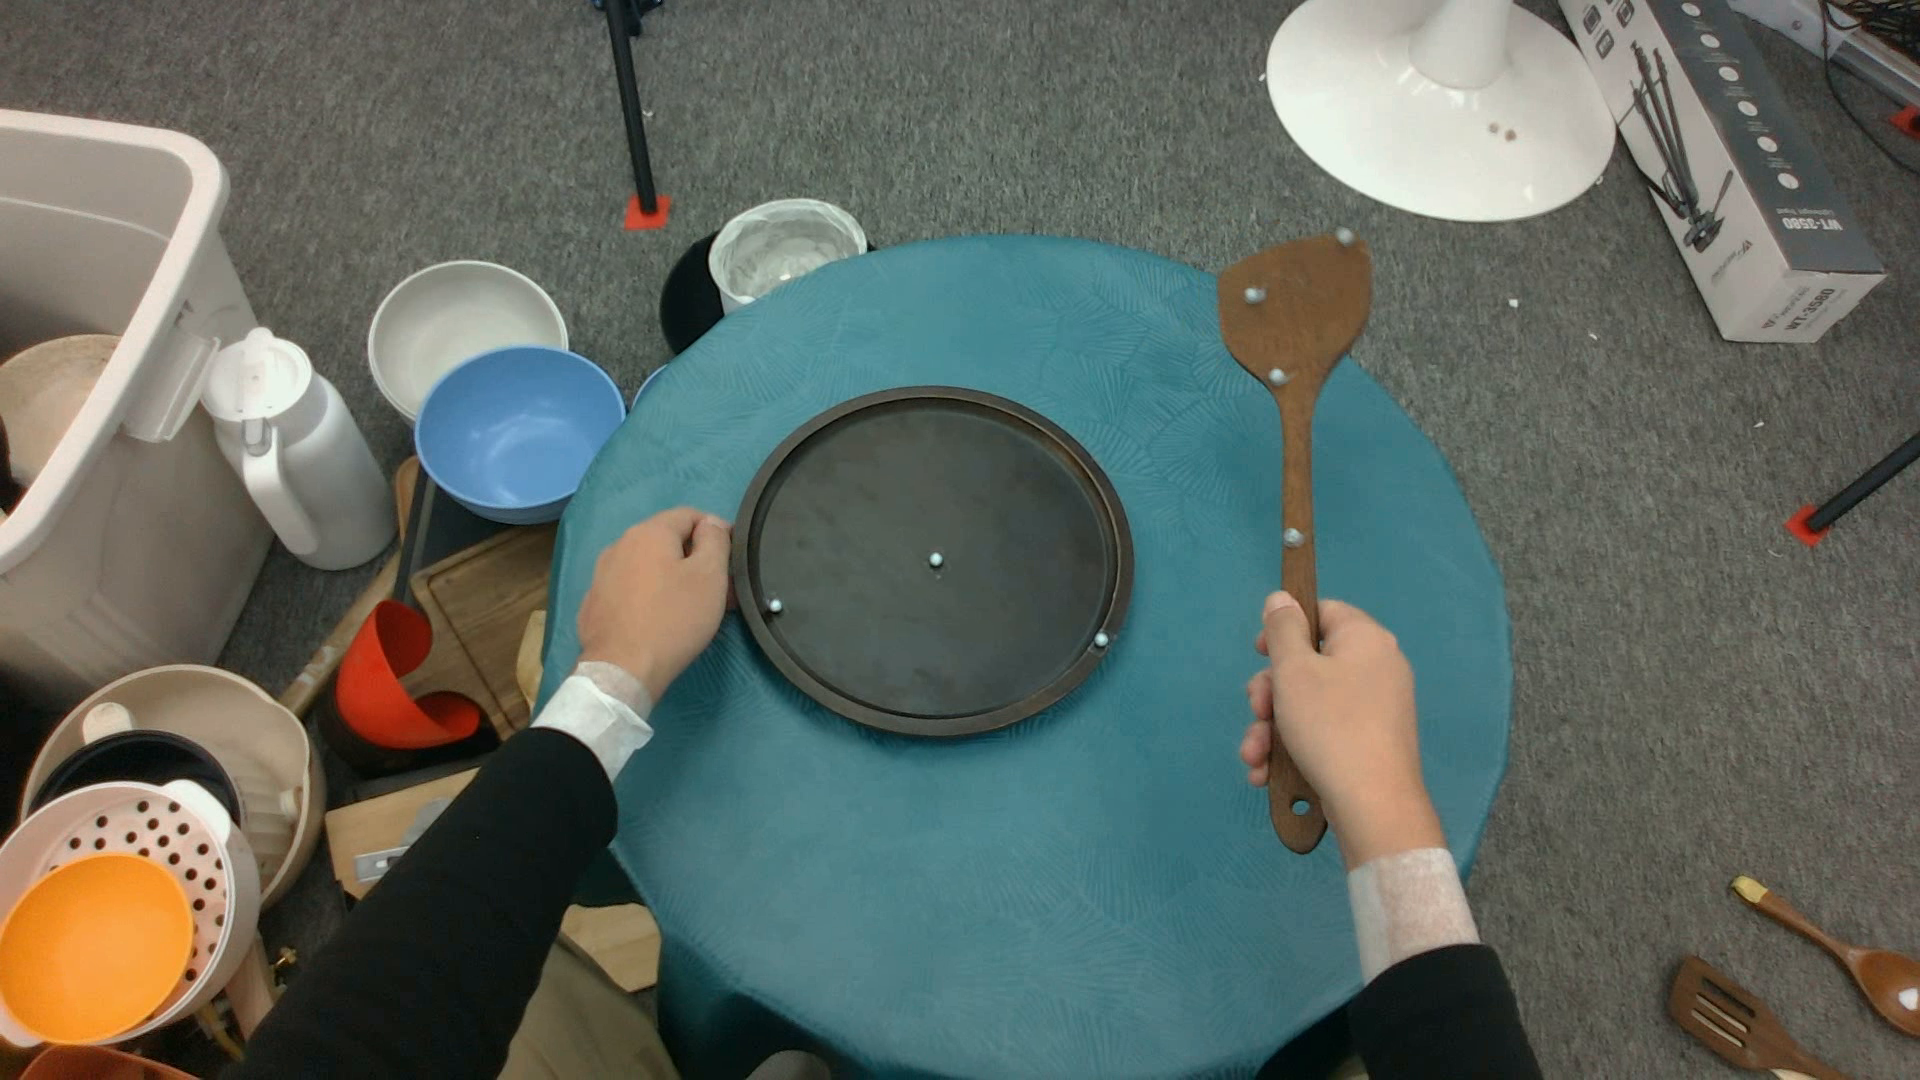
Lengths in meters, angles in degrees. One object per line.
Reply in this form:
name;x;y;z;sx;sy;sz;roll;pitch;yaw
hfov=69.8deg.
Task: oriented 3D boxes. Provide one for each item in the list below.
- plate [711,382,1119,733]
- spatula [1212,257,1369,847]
plate;-0.027;0.005;0.862;0.255;0.029;0.256;3;58;-5
spatula;0.183;-0.015;0.770;0.096;0.016;0.387;-3;56;18
